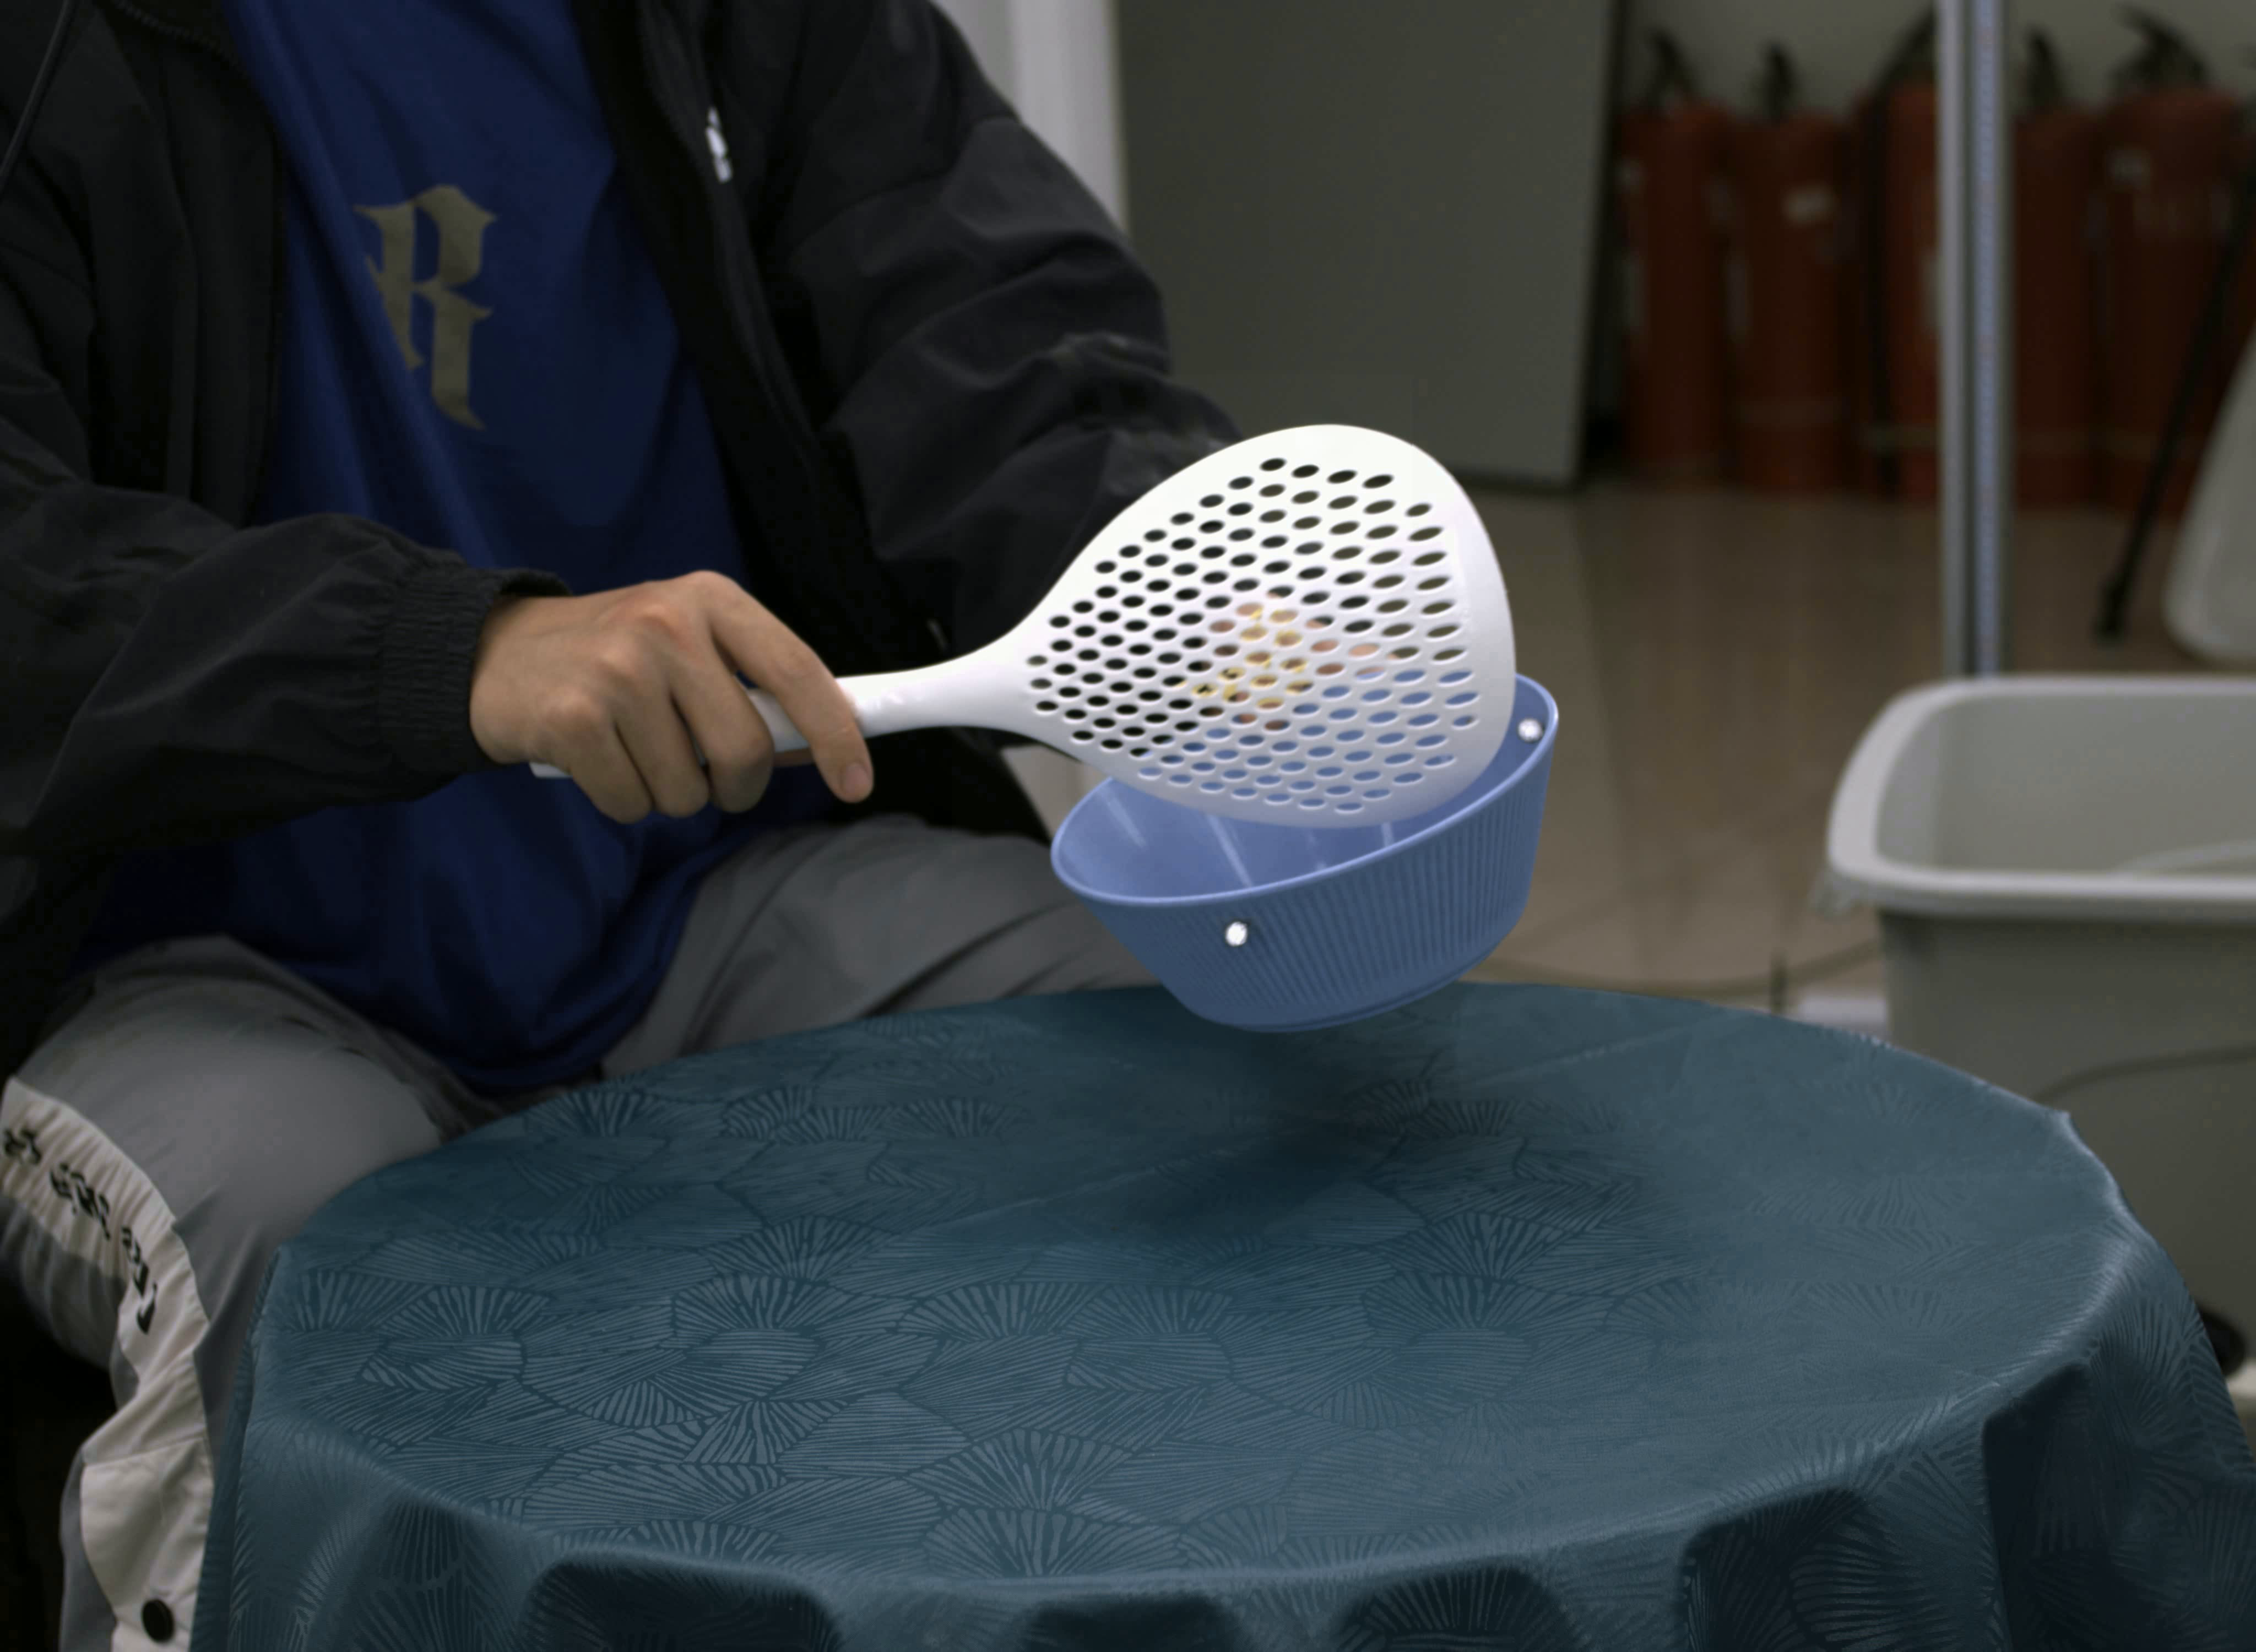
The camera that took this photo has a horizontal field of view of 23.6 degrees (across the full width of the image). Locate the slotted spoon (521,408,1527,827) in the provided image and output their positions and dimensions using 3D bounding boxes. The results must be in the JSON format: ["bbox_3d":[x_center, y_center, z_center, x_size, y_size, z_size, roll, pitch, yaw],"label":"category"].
[{"bbox_3d":[-0.038,-0.050,1.786,0.348,0.138,0.050,-7,10,24],"label":"slotted spoon"}]

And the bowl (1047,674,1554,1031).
[{"bbox_3d":[0.065,0.013,1.788,0.174,0.070,0.176,-16,19,5],"label":"bowl"}]
